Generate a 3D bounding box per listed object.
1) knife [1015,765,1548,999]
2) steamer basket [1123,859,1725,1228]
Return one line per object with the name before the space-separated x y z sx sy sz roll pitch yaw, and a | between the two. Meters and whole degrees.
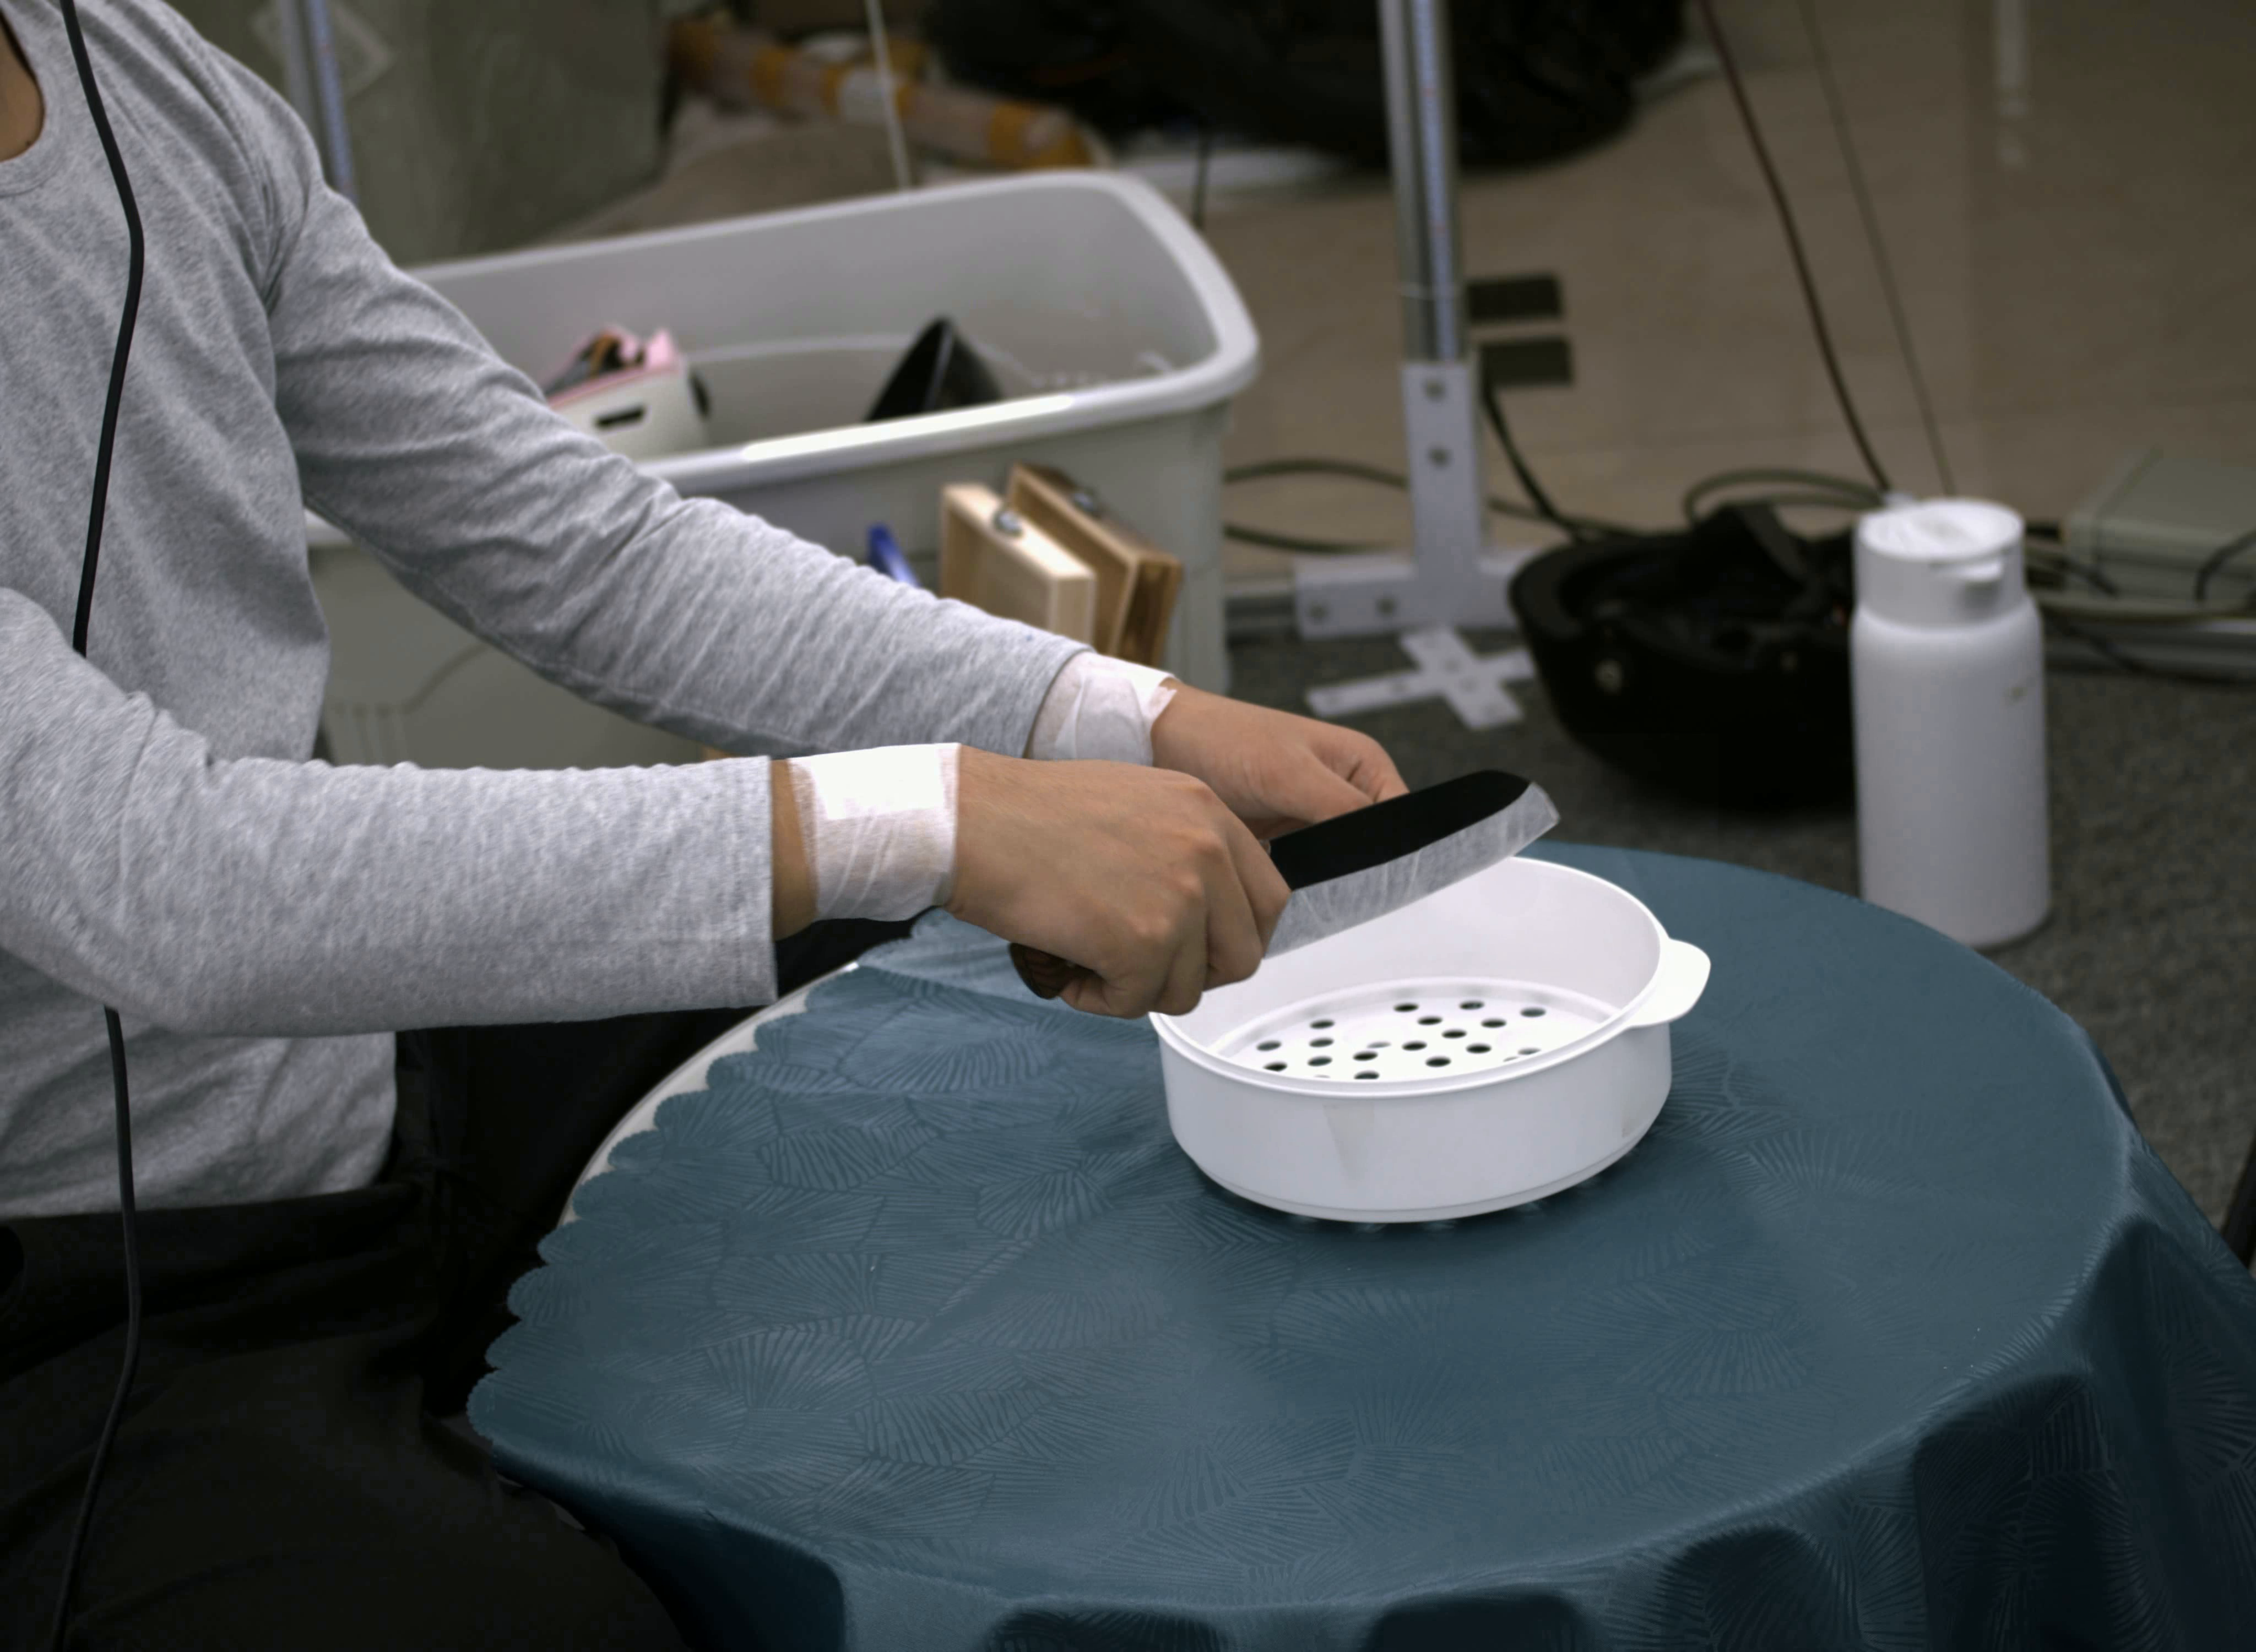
knife | 0.062 0.020 2.044 0.020 0.051 0.287 17 22 39
steamer basket | 0.114 0.082 2.165 0.230 0.070 0.199 1 25 18
